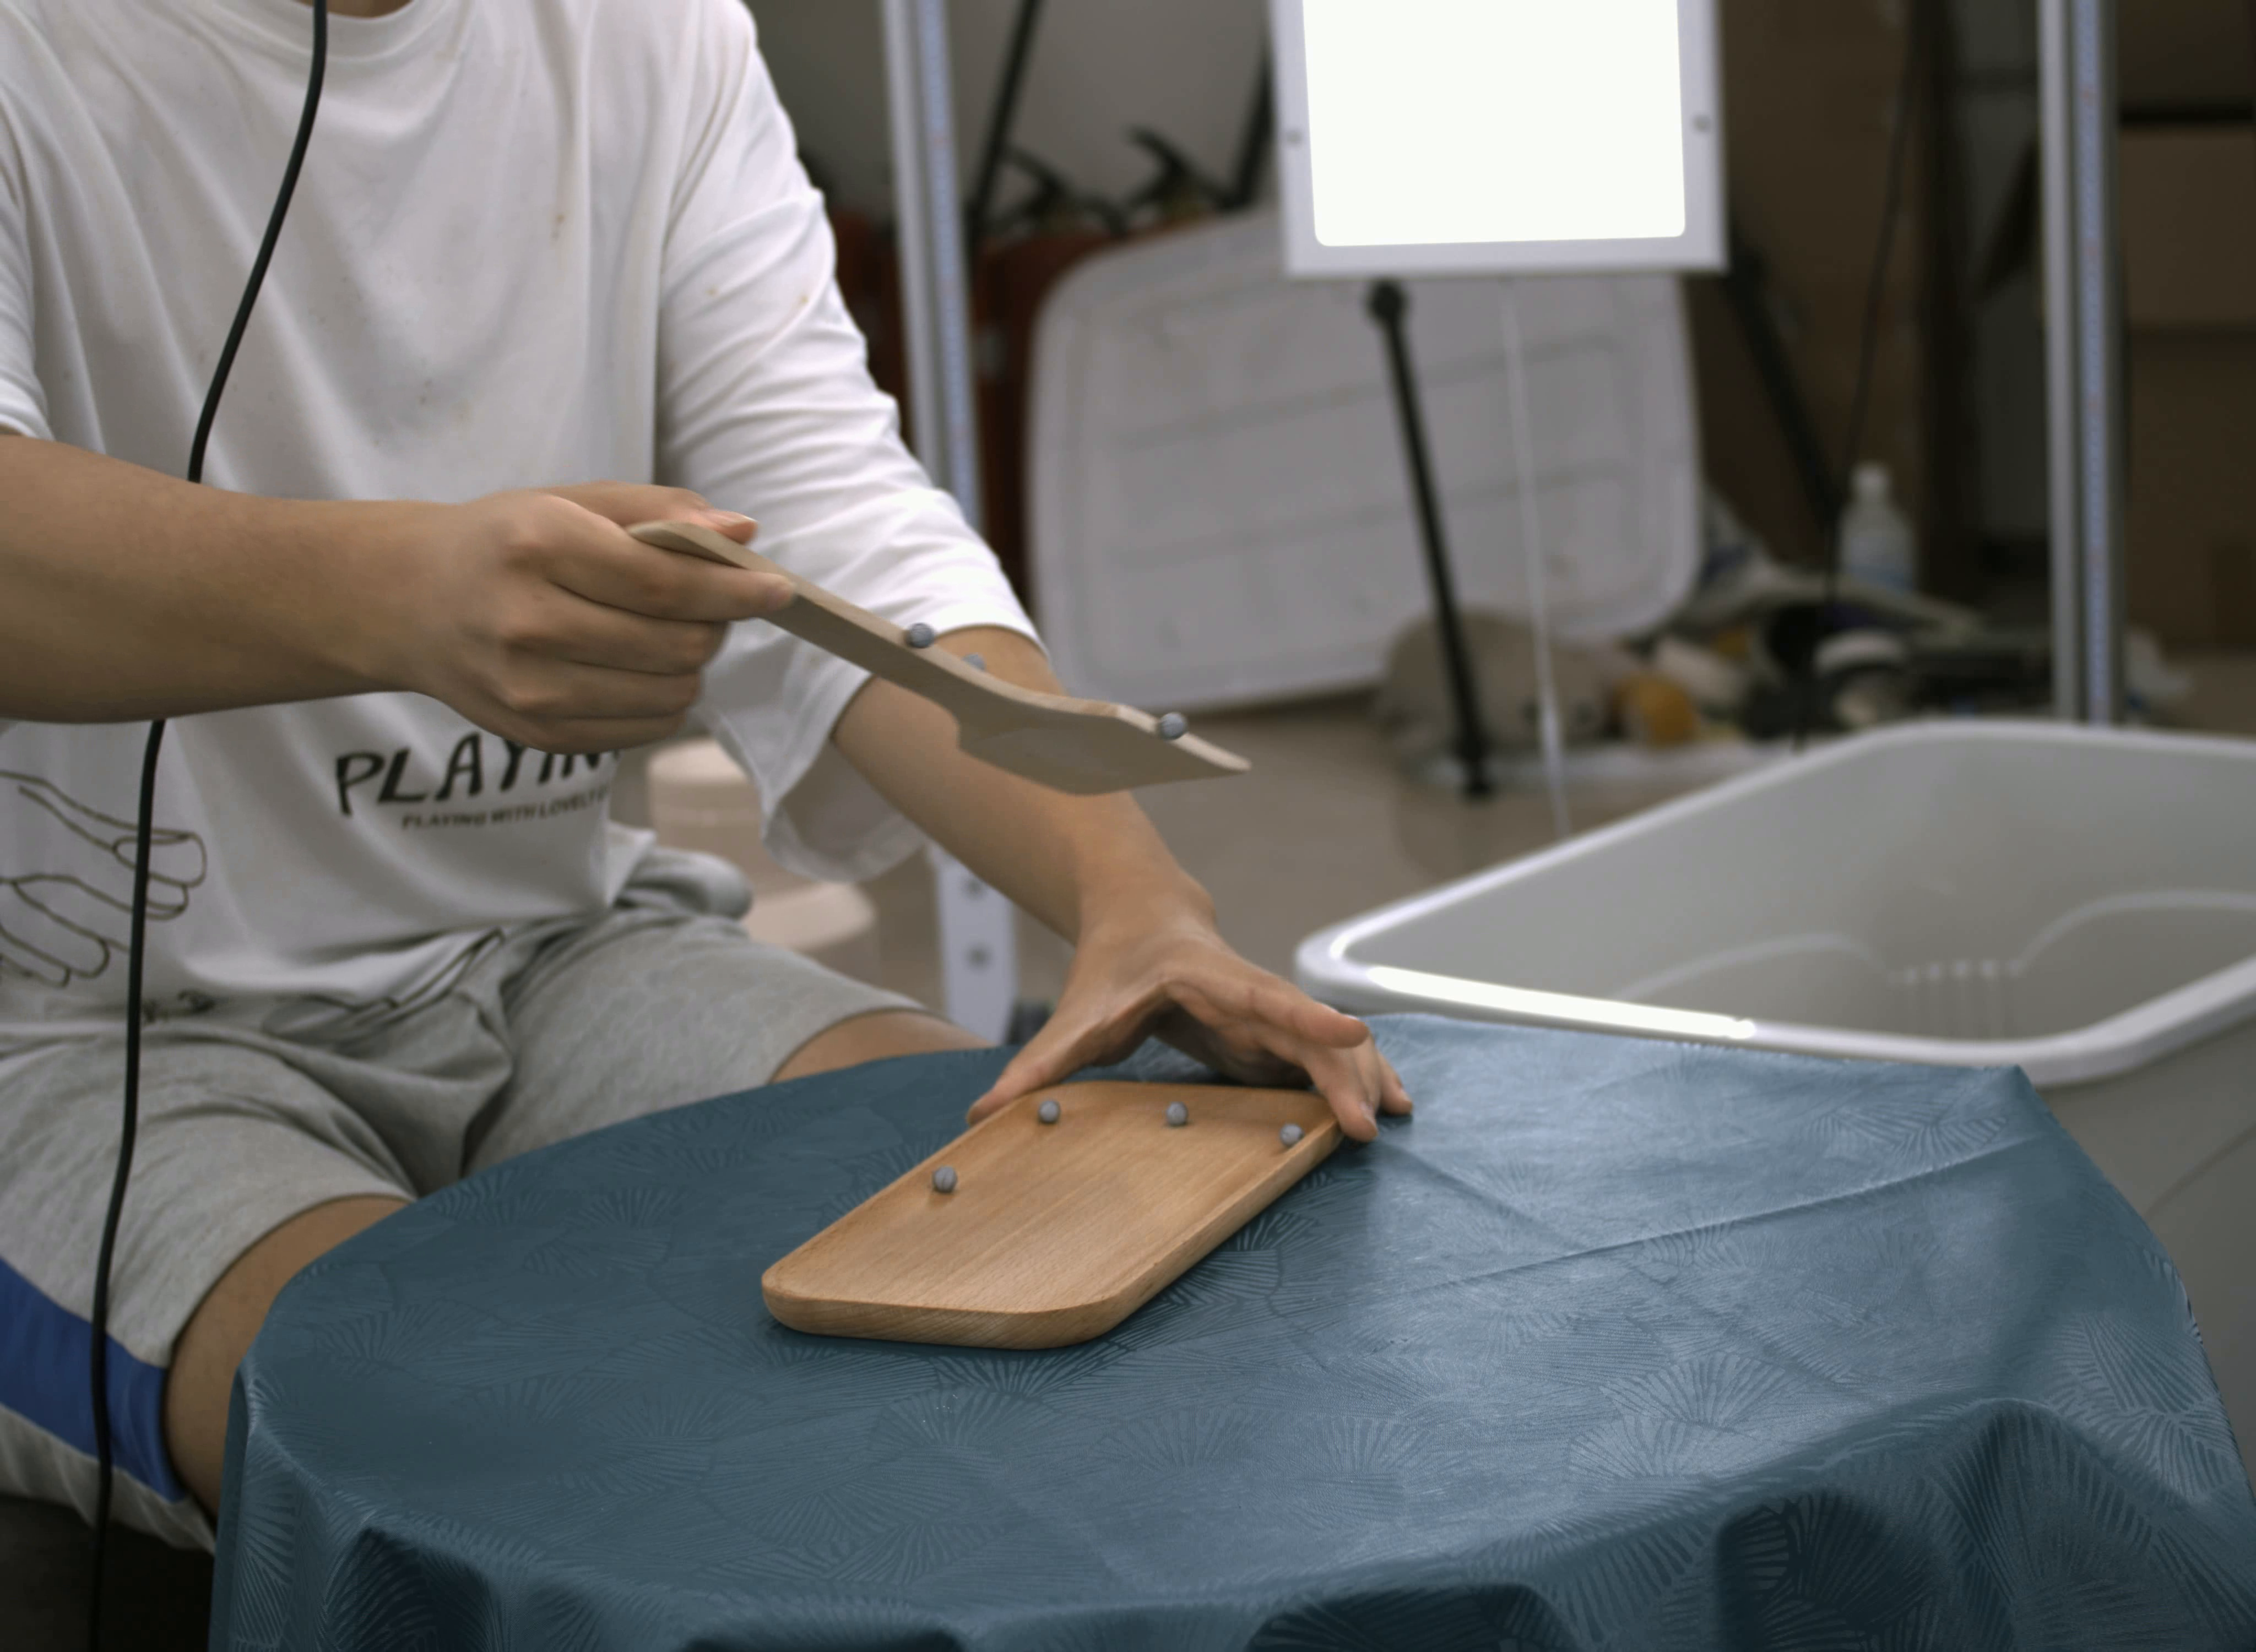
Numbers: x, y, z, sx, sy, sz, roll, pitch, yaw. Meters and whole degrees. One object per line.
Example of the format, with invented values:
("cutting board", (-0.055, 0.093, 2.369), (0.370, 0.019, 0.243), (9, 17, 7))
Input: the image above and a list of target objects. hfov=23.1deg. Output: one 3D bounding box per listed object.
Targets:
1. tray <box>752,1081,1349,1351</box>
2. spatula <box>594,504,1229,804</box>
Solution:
("tray", (-0.022, 0.130, 1.863), (0.133, 0.023, 0.245), (-1, 14, 27))
("spatula", (-0.071, -0.052, 1.754), (0.074, 0.010, 0.287), (-7, -21, 34))
